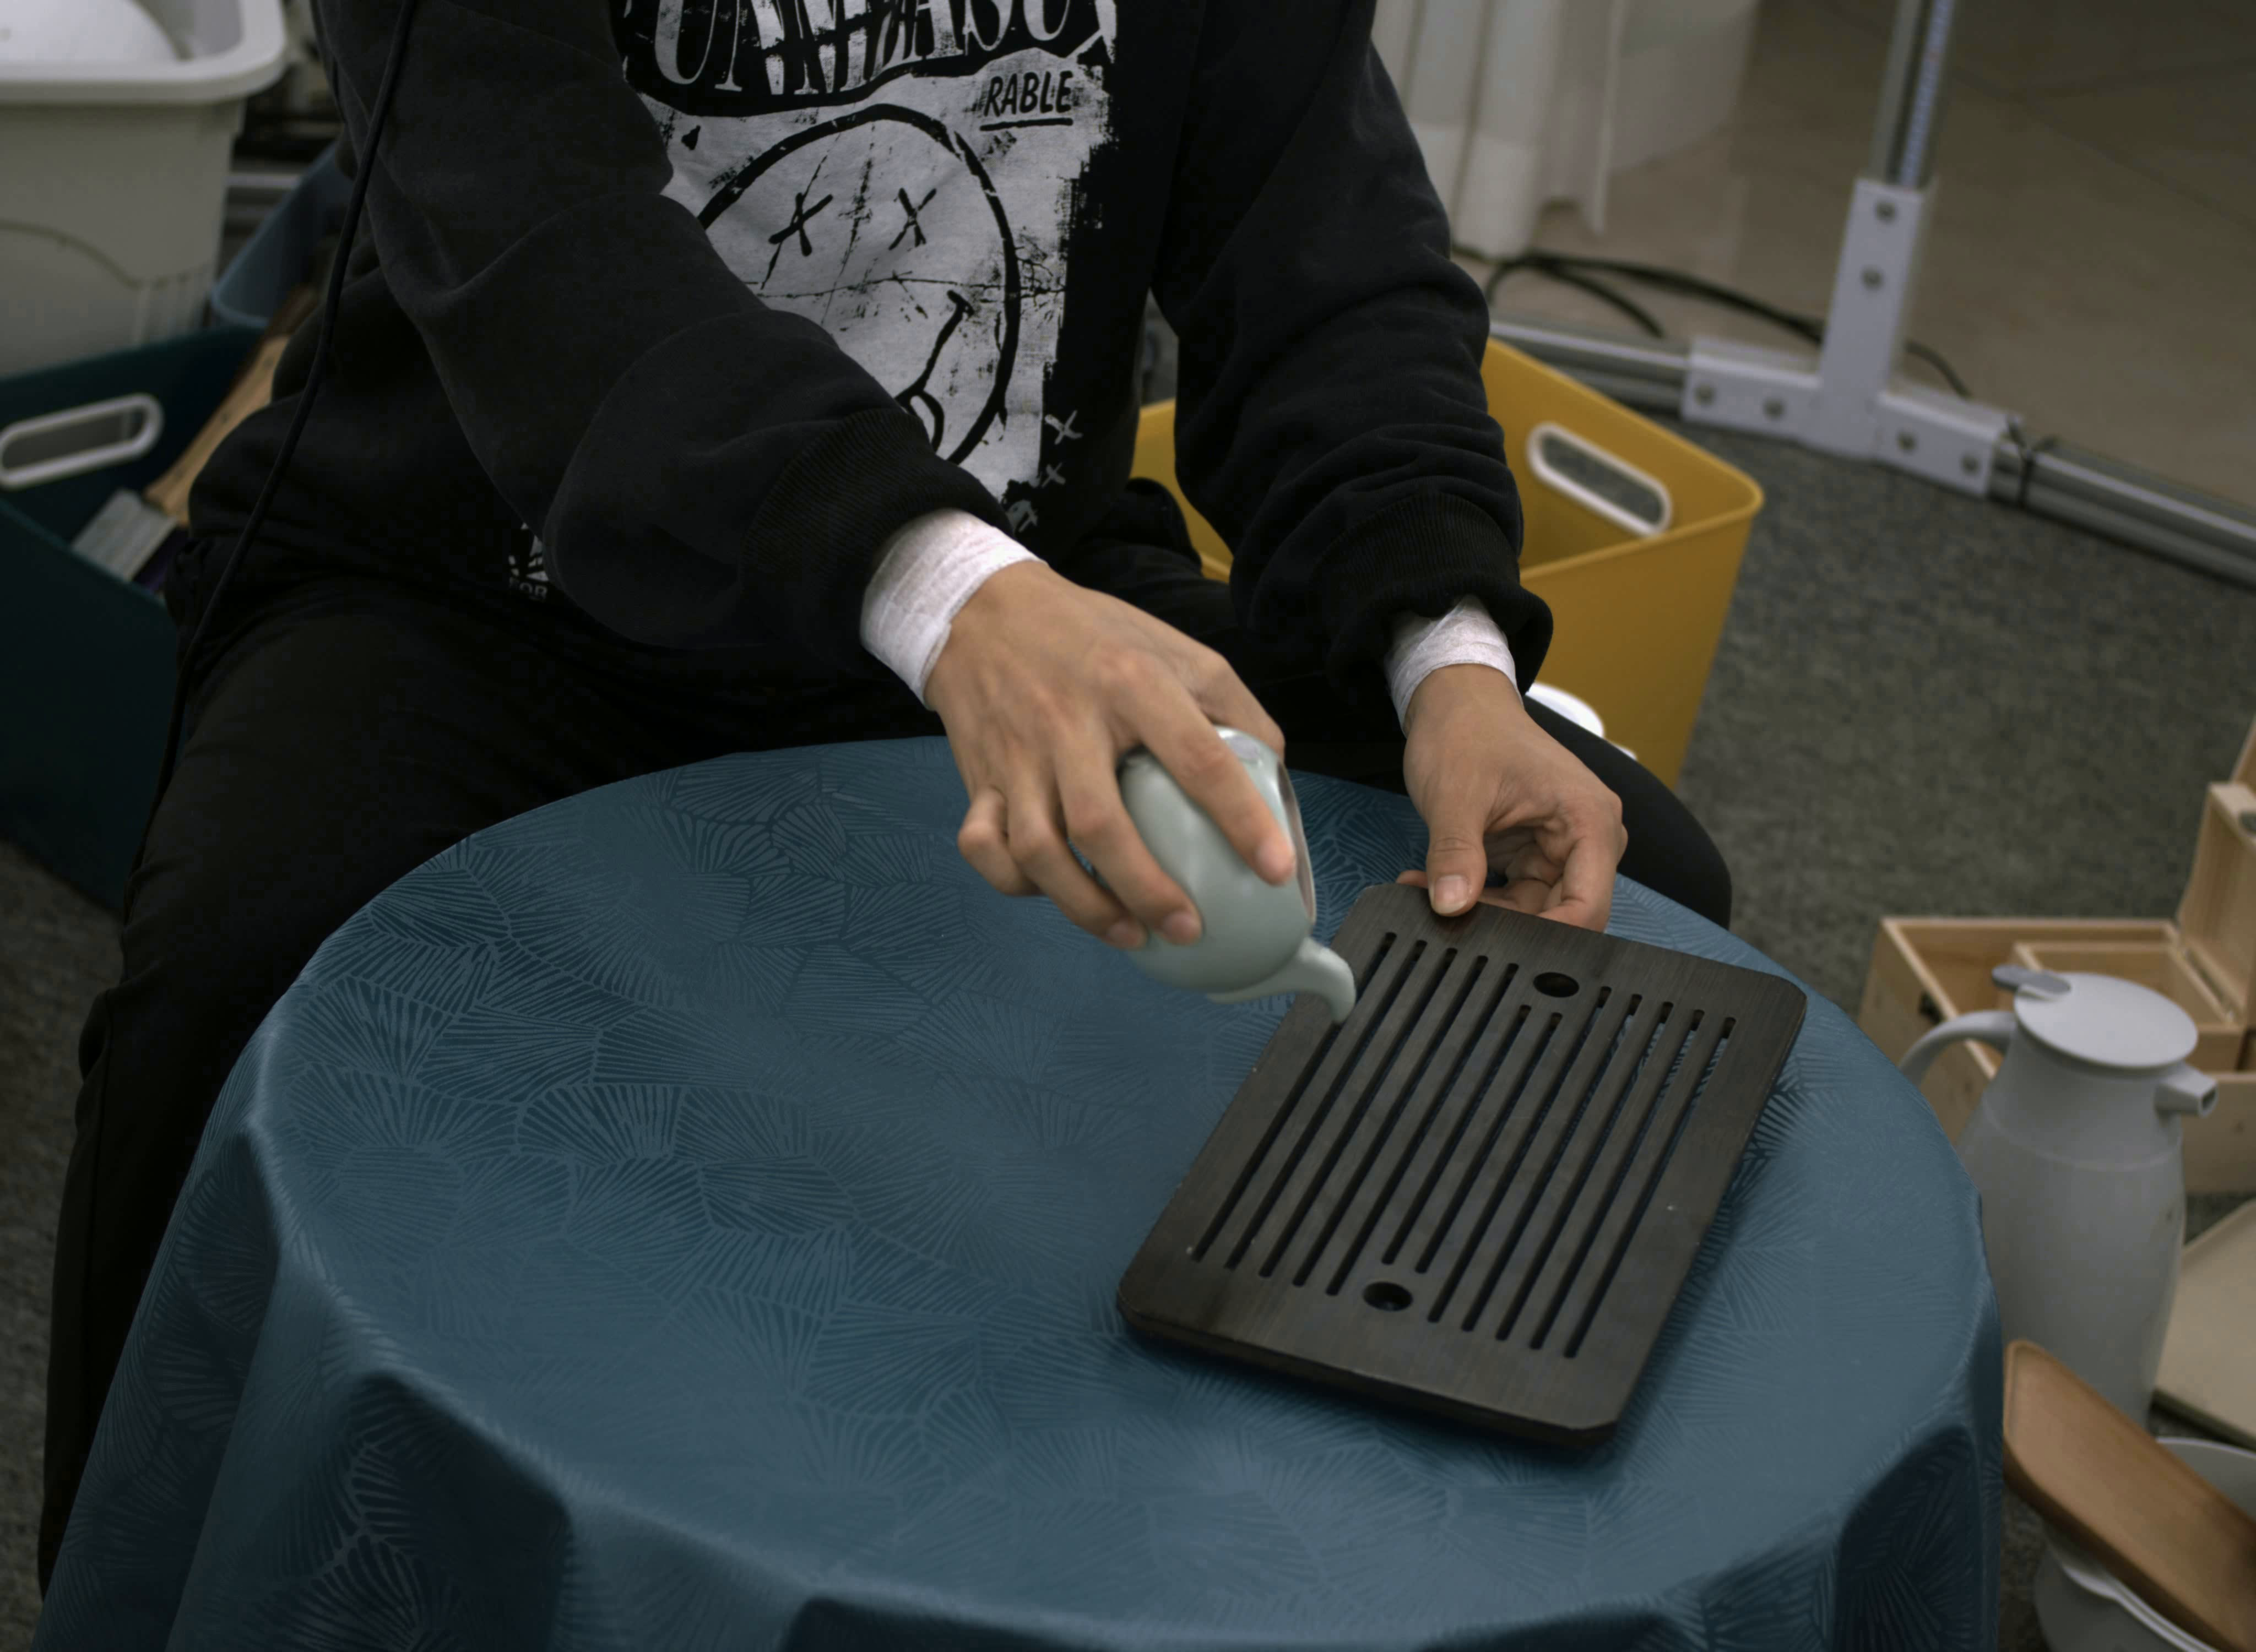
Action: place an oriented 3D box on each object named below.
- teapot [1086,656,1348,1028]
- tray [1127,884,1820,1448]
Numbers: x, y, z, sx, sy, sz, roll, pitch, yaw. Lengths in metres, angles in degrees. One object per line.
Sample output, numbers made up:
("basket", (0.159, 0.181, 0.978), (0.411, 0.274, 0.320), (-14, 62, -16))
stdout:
("teapot", (0.026, 0.010, 1.740), (0.074, 0.143, 0.089), (-9, 28, 5))
("tray", (0.124, 0.113, 1.820), (0.170, 0.018, 0.306), (13, 30, 14))
